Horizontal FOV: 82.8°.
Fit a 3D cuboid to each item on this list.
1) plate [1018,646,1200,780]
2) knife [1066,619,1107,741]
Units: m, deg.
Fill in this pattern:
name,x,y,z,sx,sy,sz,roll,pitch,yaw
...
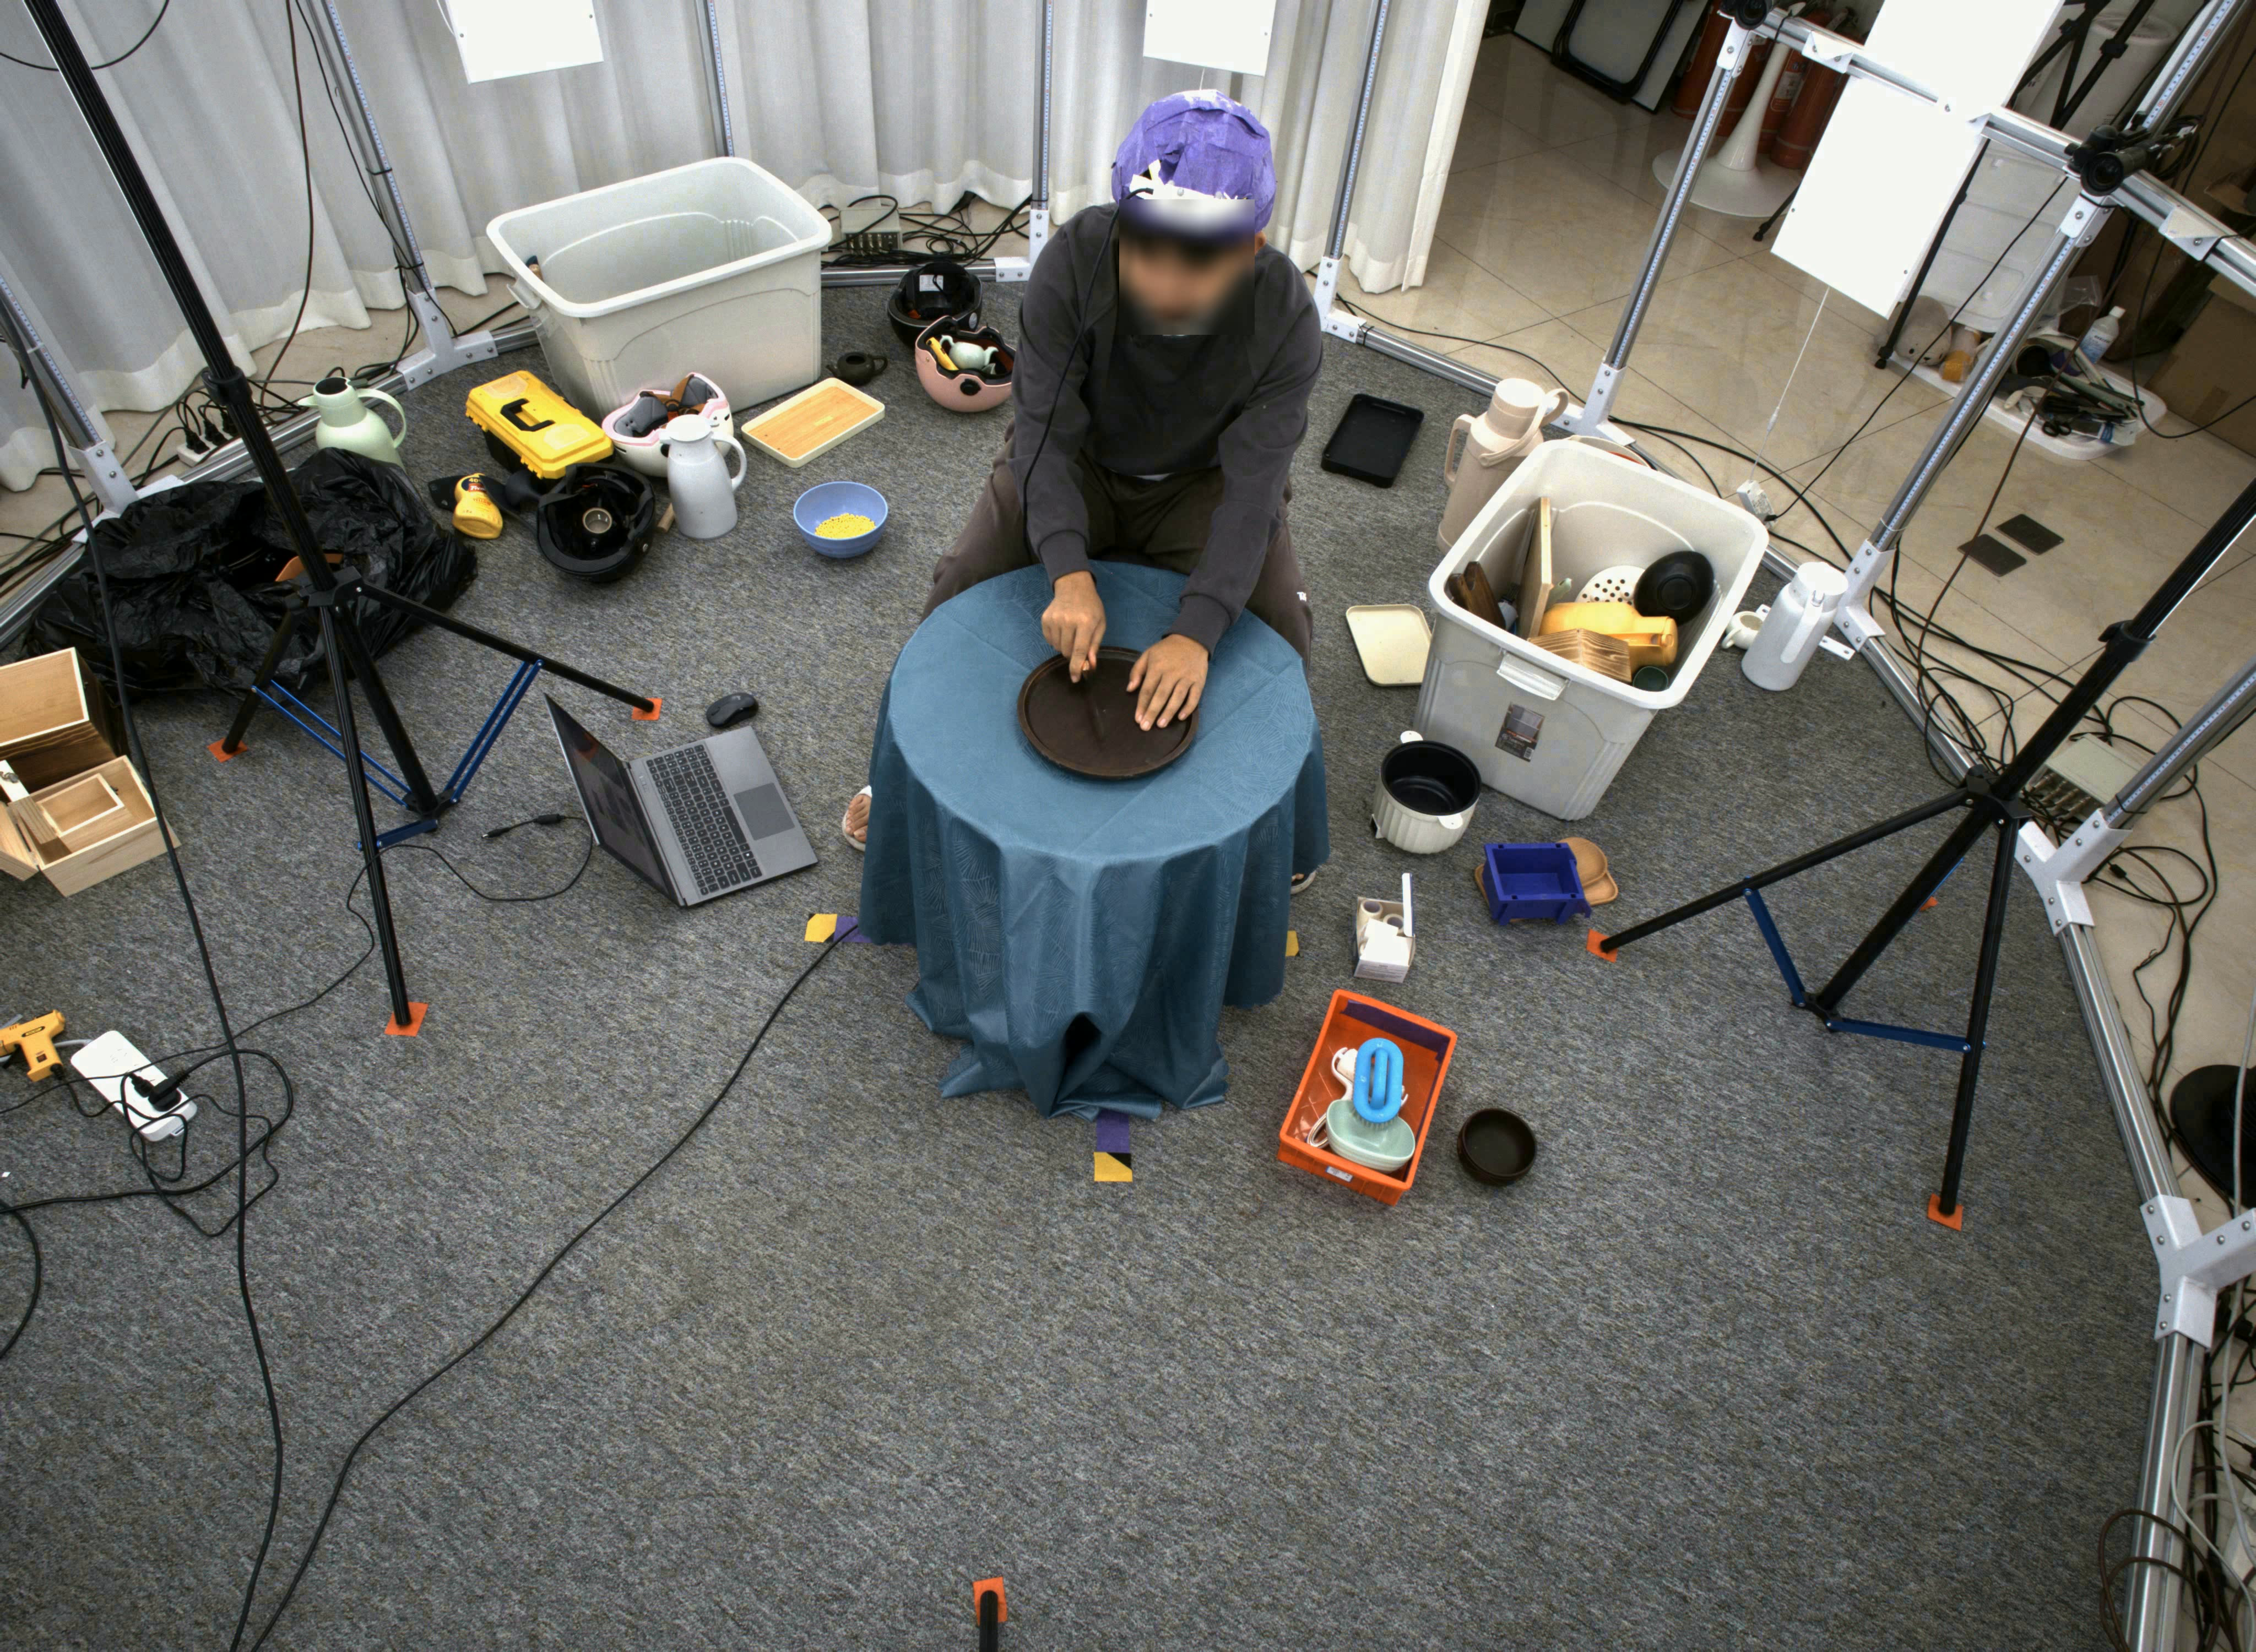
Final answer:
name,x,y,z,sx,sy,sz,roll,pitch,yaw
plate,-0.026,-0.159,1.786,0.254,0.028,0.261,1,48,-2
knife,-0.057,-0.207,1.796,0.017,0.025,0.231,-16,53,-1
